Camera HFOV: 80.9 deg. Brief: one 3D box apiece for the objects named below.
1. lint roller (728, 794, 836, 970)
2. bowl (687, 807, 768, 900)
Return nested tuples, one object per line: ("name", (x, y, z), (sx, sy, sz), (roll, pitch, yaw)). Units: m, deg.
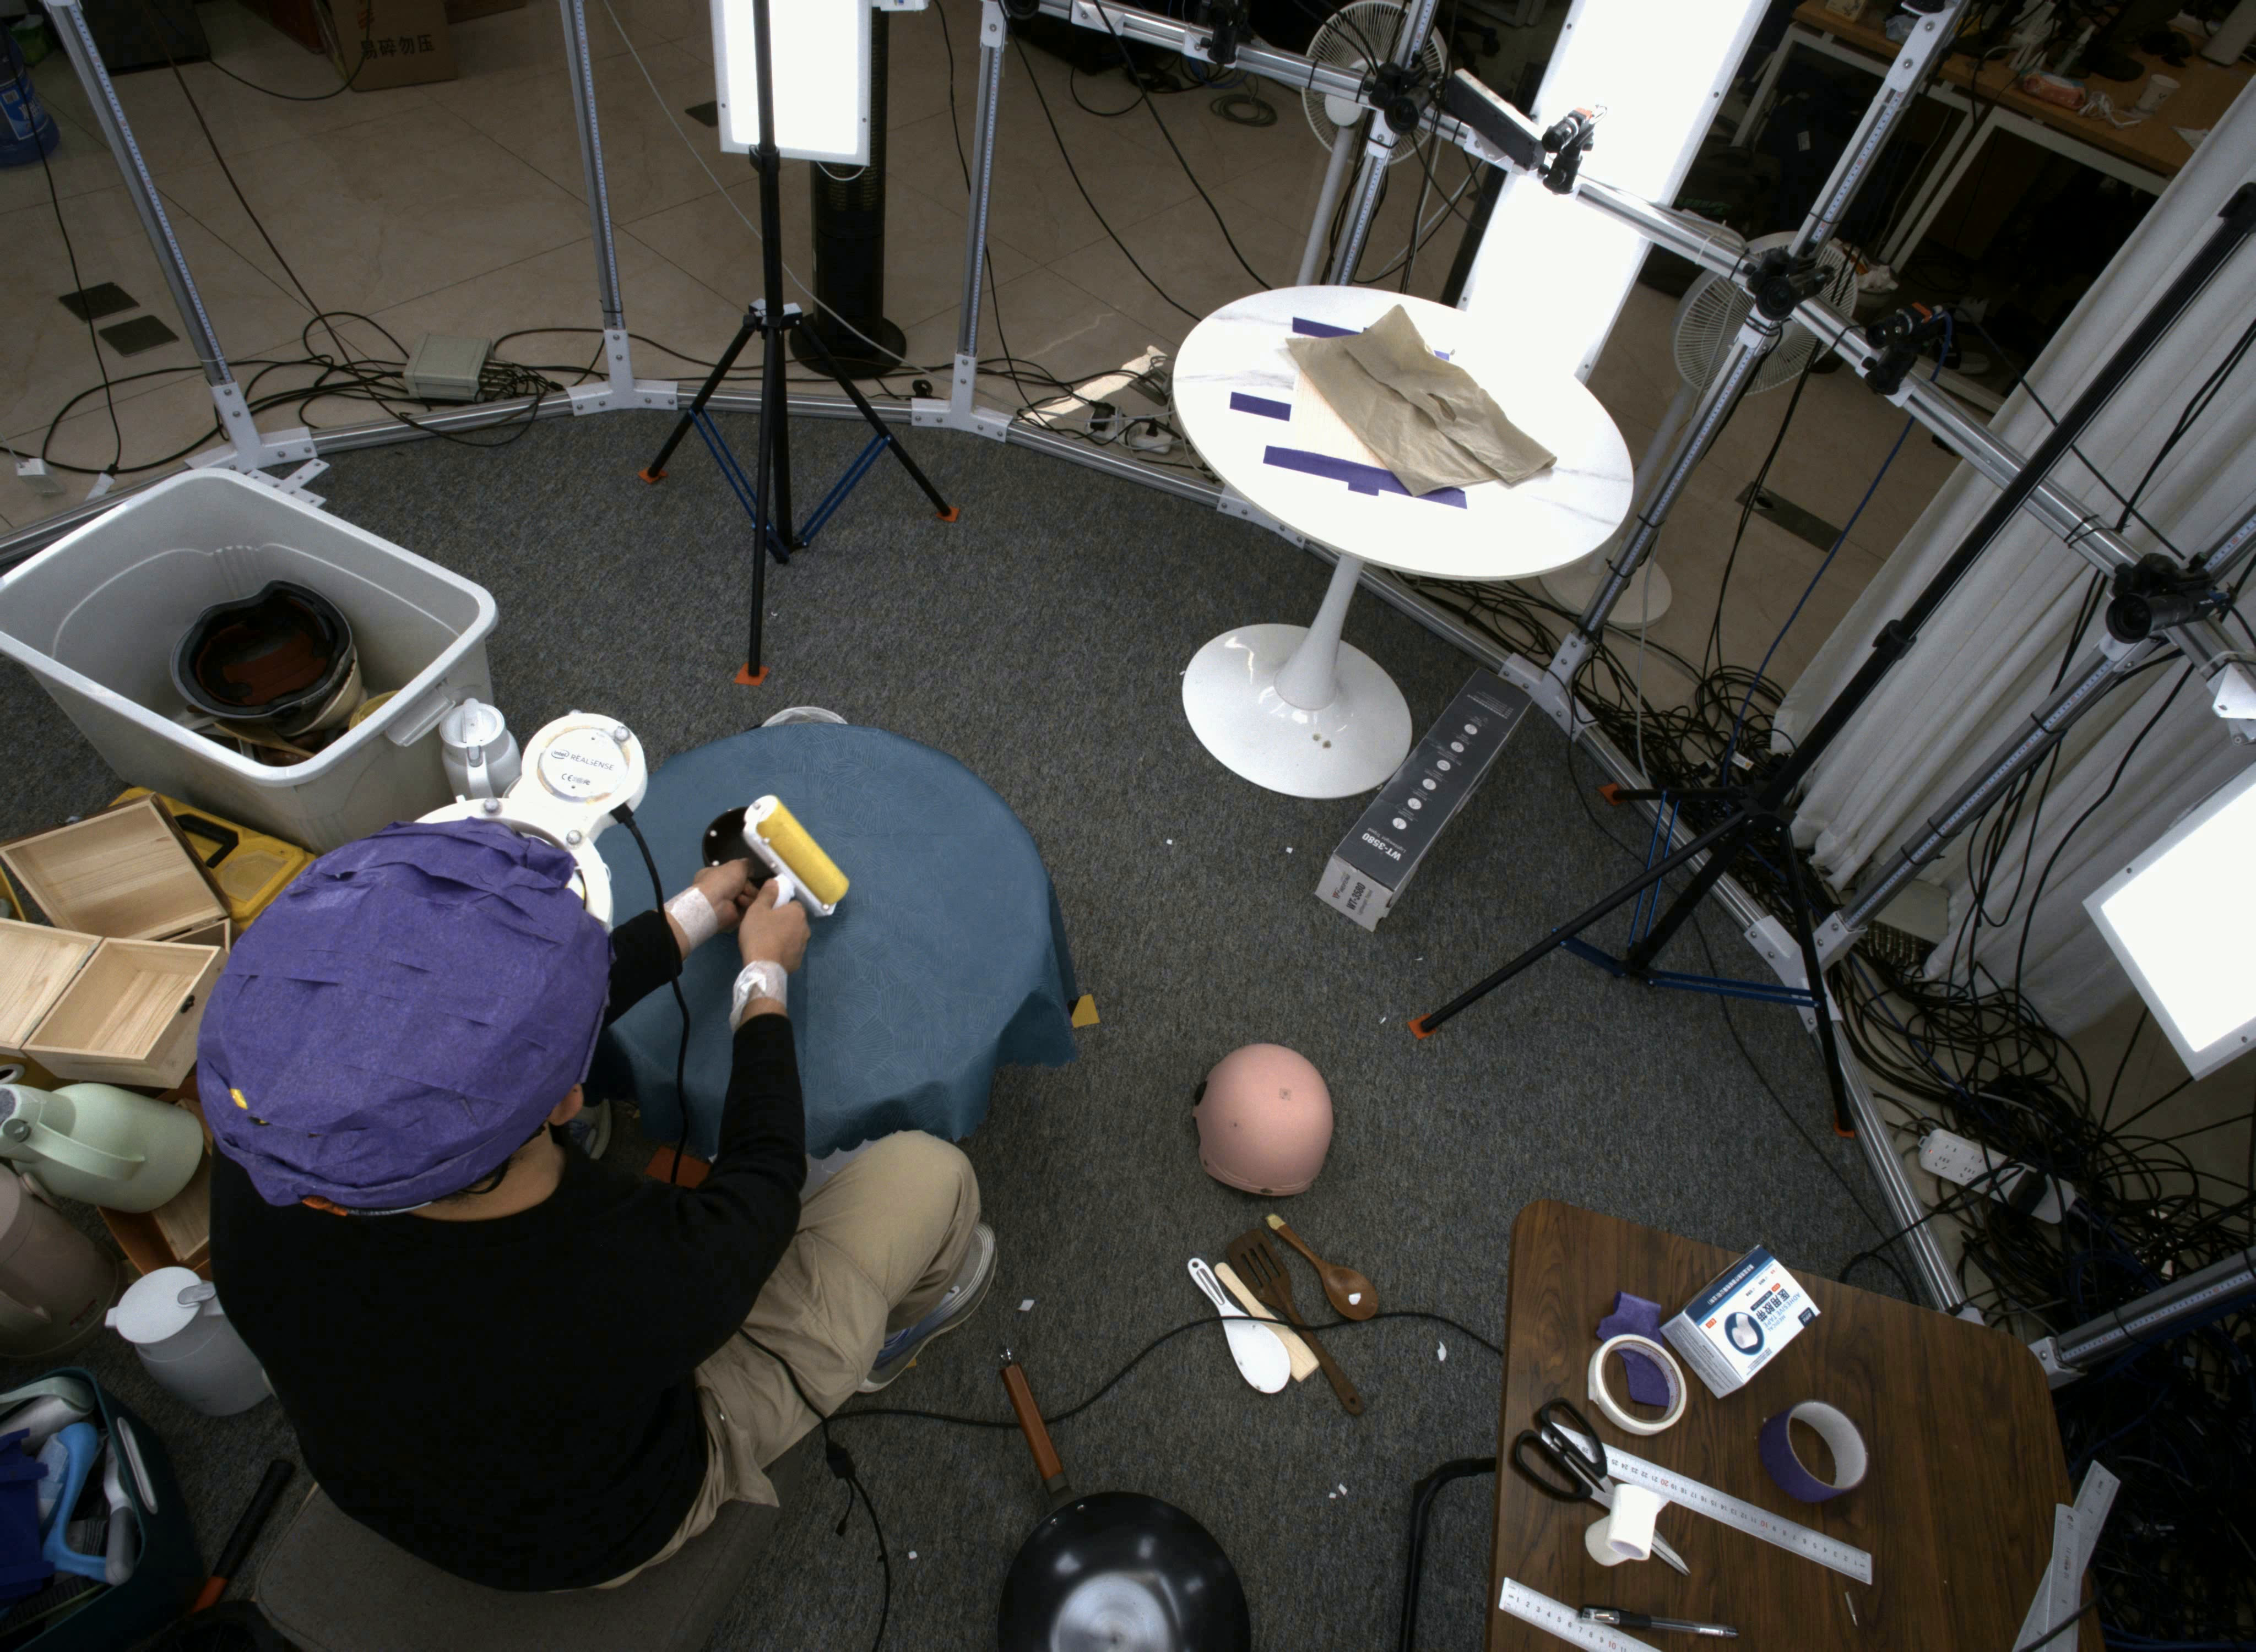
("lint roller", (-0.416, 0.083, 1.535), (0.050, 0.181, 0.187), (-19, 47, 13))
("bowl", (-0.489, 0.041, 1.622), (0.117, 0.071, 0.116), (6, 54, -6))
